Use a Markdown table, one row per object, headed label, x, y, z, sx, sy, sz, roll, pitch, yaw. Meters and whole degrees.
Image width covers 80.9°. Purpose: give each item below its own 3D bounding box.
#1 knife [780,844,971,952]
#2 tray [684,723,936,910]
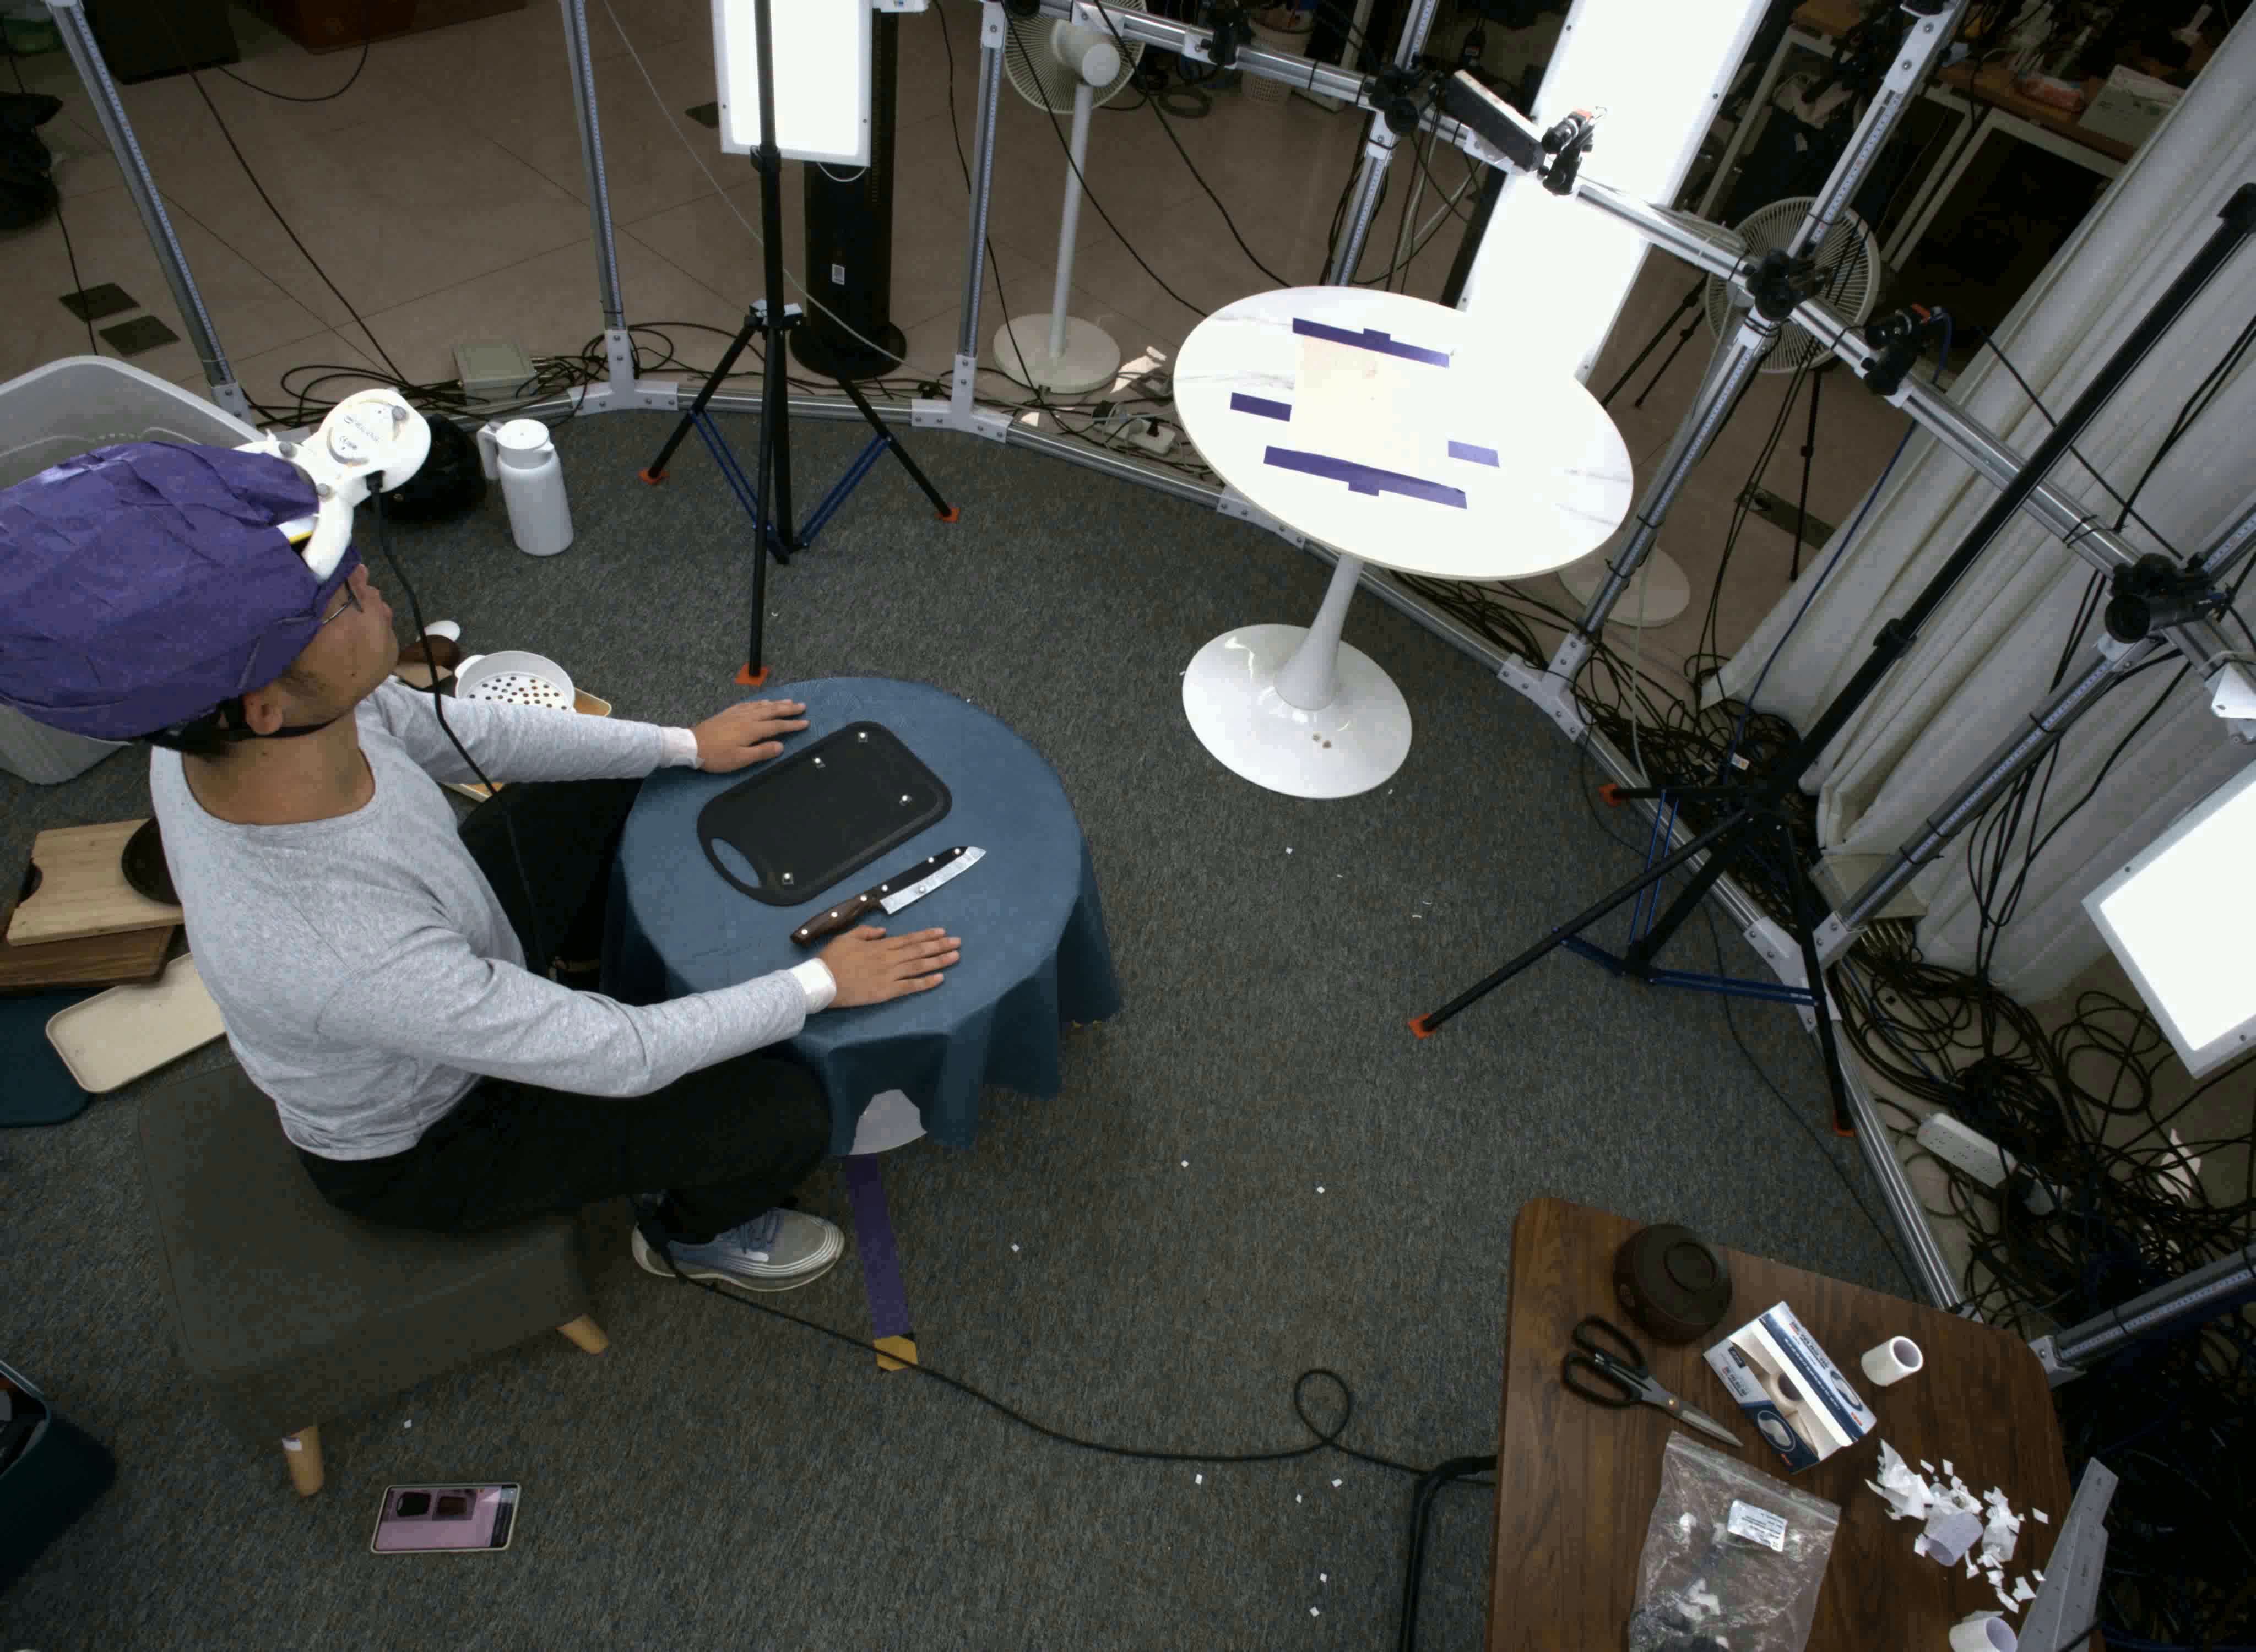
| label | x | y | z | sx | sy | sz | roll | pitch | yaw |
| --- | --- | --- | --- | --- | --- | --- | --- | --- | --- |
| knife | -0.322 | 0.088 | 1.687 | 0.290 | 0.020 | 0.049 | -29 | 70 | -33 |
| tray | -0.430 | -0.017 | 1.743 | 0.206 | 0.010 | 0.326 | 43 | 56 | 18 |
